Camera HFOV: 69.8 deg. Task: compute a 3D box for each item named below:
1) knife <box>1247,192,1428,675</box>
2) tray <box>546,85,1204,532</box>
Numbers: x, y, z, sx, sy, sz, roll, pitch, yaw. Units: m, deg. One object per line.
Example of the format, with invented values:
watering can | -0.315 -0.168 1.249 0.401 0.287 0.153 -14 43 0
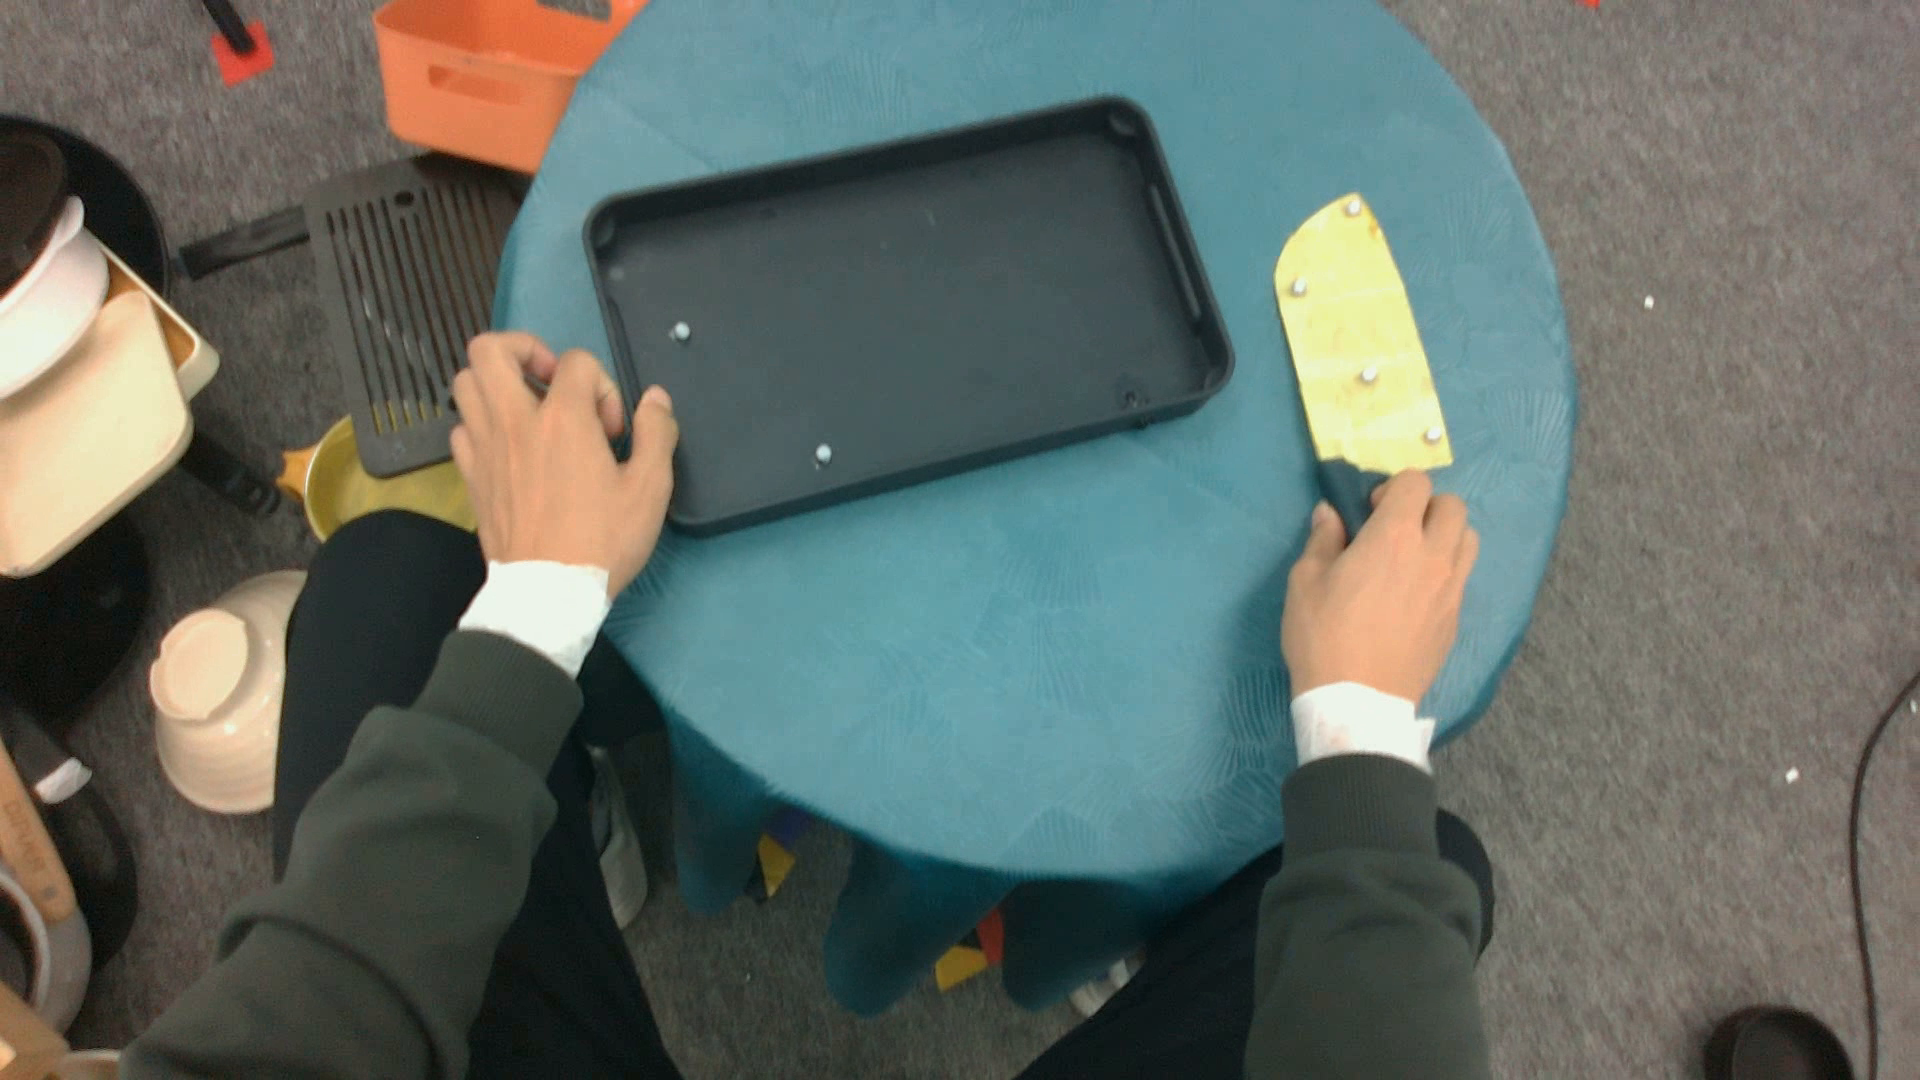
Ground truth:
knife | 0.217 -0.068 0.766 0.081 0.027 0.290 -7 72 -2
tray | -0.042 -0.129 0.738 0.318 0.037 0.184 -17 77 -13
